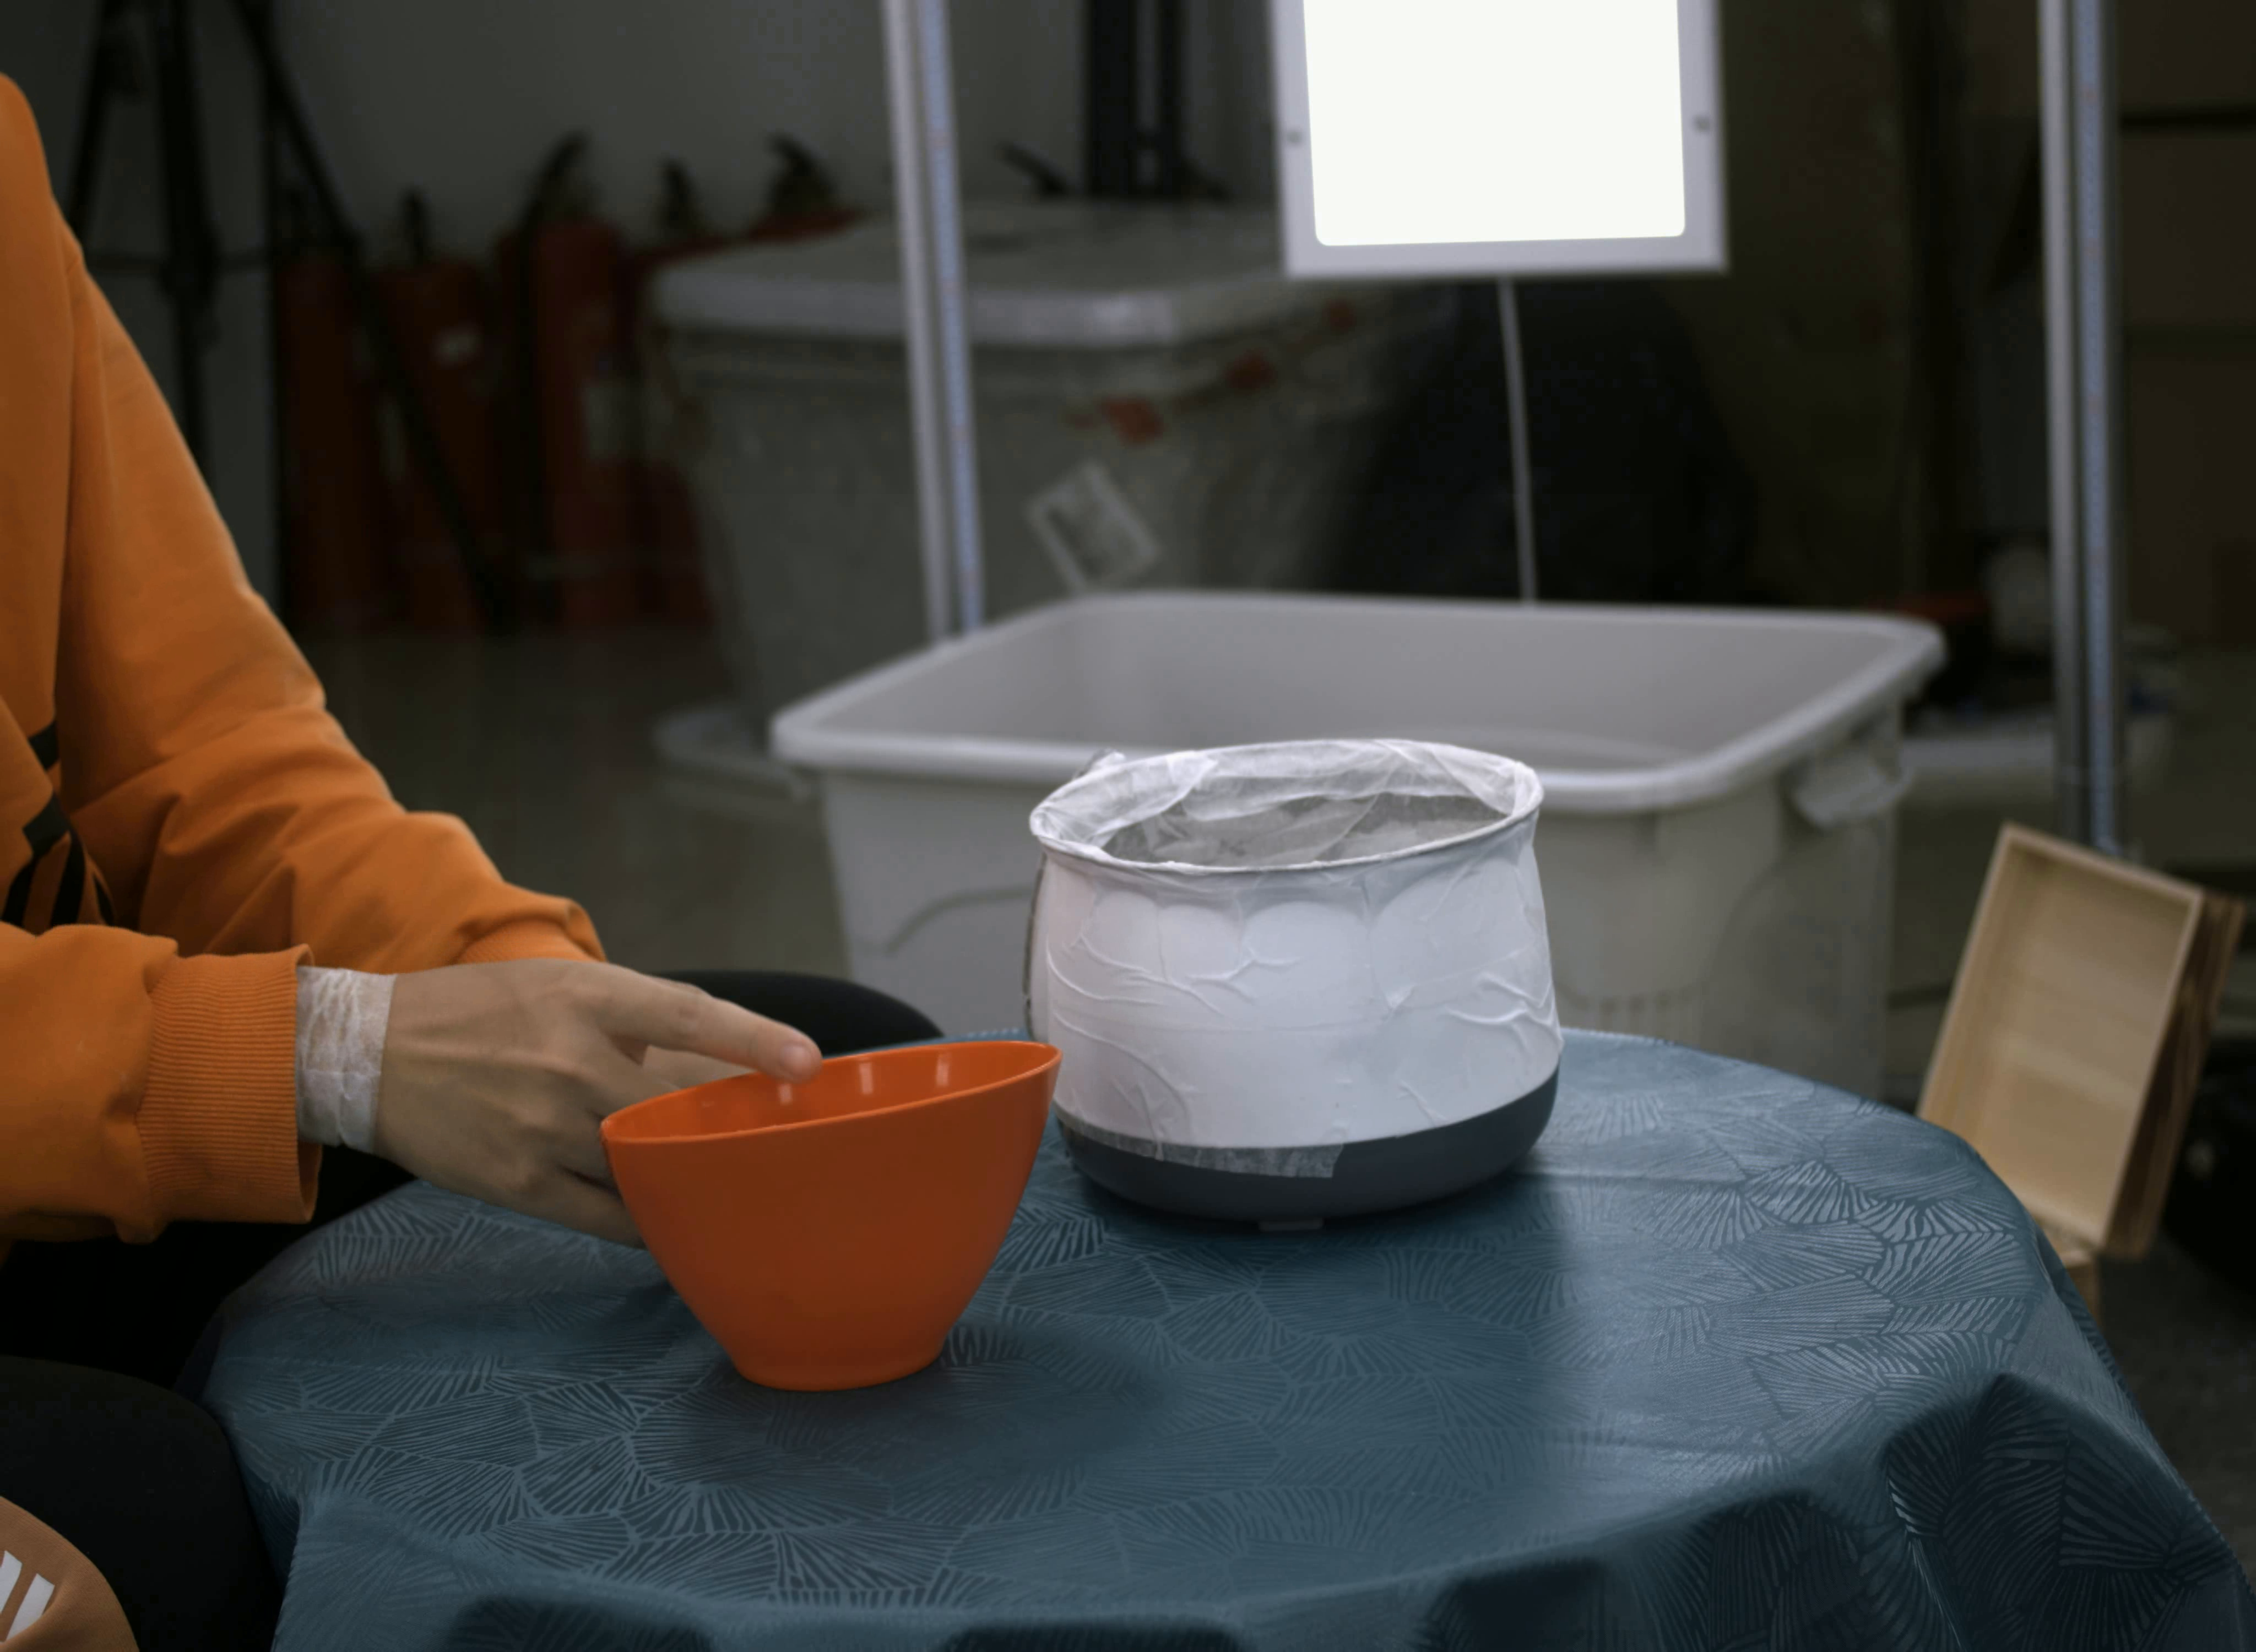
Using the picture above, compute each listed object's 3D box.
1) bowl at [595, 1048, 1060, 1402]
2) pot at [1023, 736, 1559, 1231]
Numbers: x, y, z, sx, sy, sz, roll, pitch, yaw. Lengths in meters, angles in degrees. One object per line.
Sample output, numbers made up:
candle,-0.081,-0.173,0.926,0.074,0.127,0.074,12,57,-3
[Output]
bowl,-0.091,0.124,1.736,0.147,0.105,0.148,-5,13,0
pot,0.041,0.048,1.911,0.174,0.137,0.238,-15,17,-36
